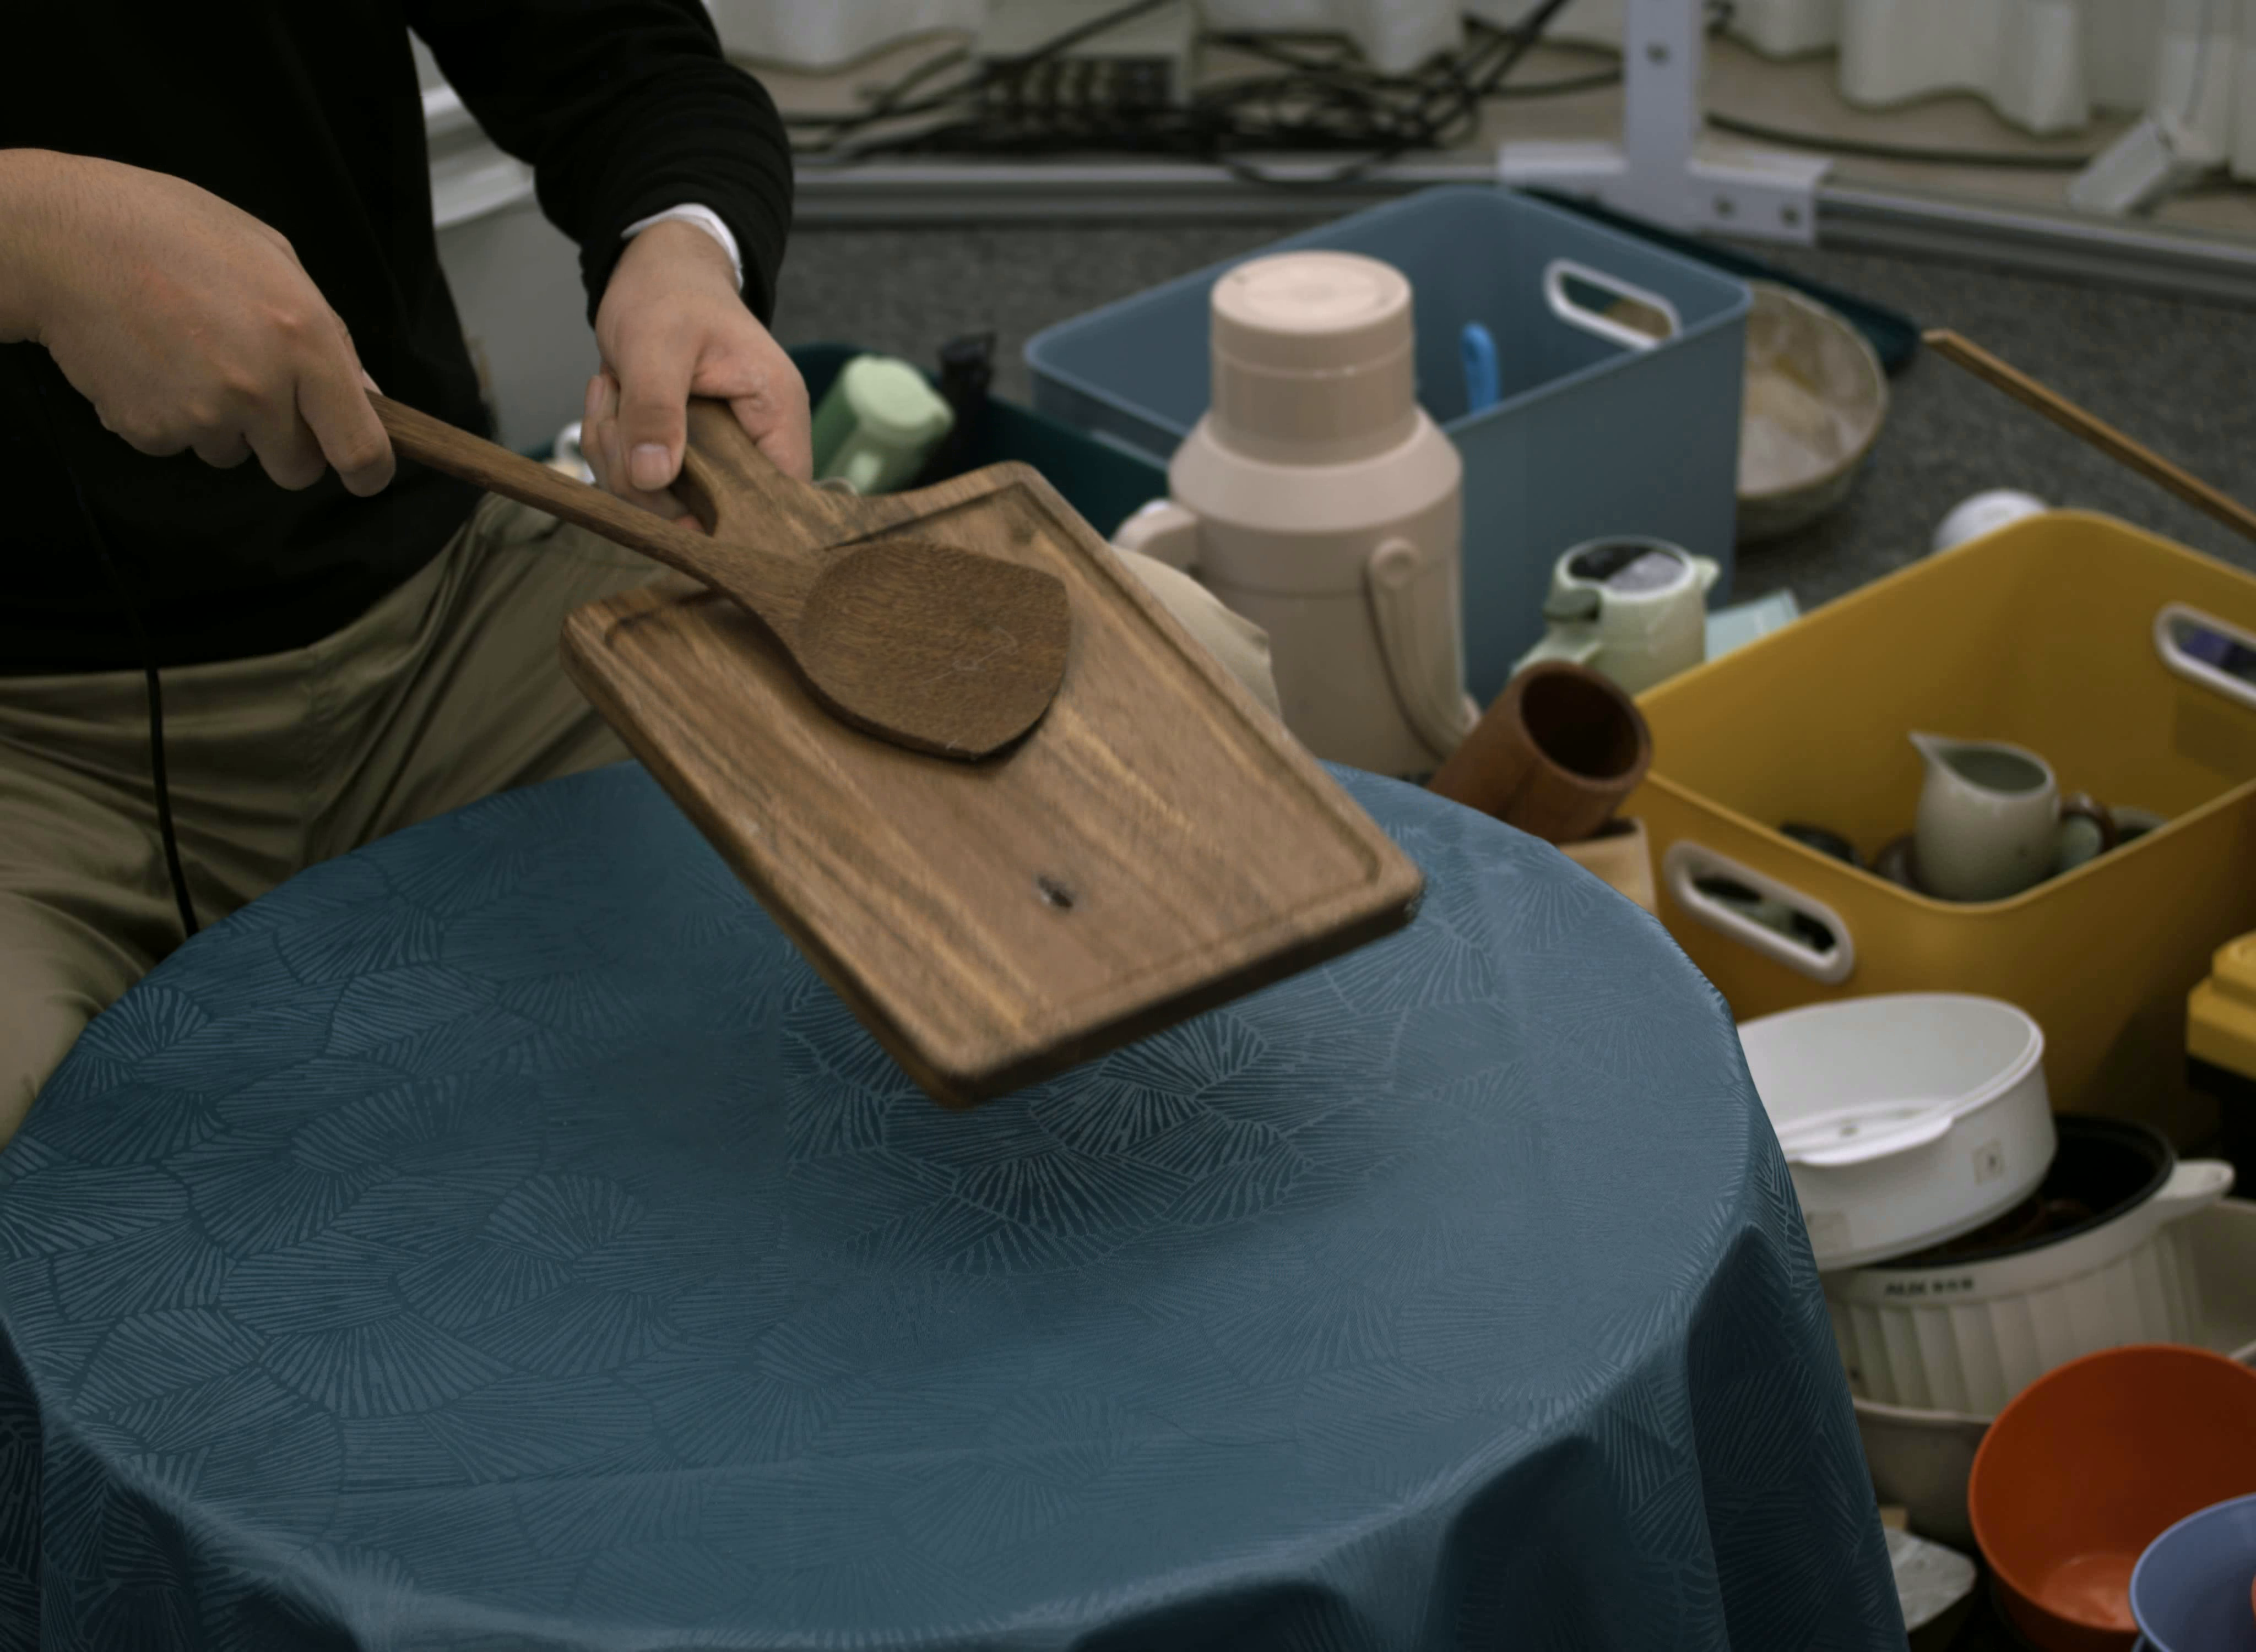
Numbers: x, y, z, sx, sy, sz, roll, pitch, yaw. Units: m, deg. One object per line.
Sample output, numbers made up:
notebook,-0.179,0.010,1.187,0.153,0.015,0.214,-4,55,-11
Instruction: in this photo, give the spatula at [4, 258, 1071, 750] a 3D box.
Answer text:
spatula,-0.203,-0.118,1.919,0.384,0.015,0.098,22,47,1

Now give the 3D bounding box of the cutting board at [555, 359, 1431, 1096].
cutting board,-0.075,-0.054,1.923,0.203,0.023,0.355,-21,49,-30
